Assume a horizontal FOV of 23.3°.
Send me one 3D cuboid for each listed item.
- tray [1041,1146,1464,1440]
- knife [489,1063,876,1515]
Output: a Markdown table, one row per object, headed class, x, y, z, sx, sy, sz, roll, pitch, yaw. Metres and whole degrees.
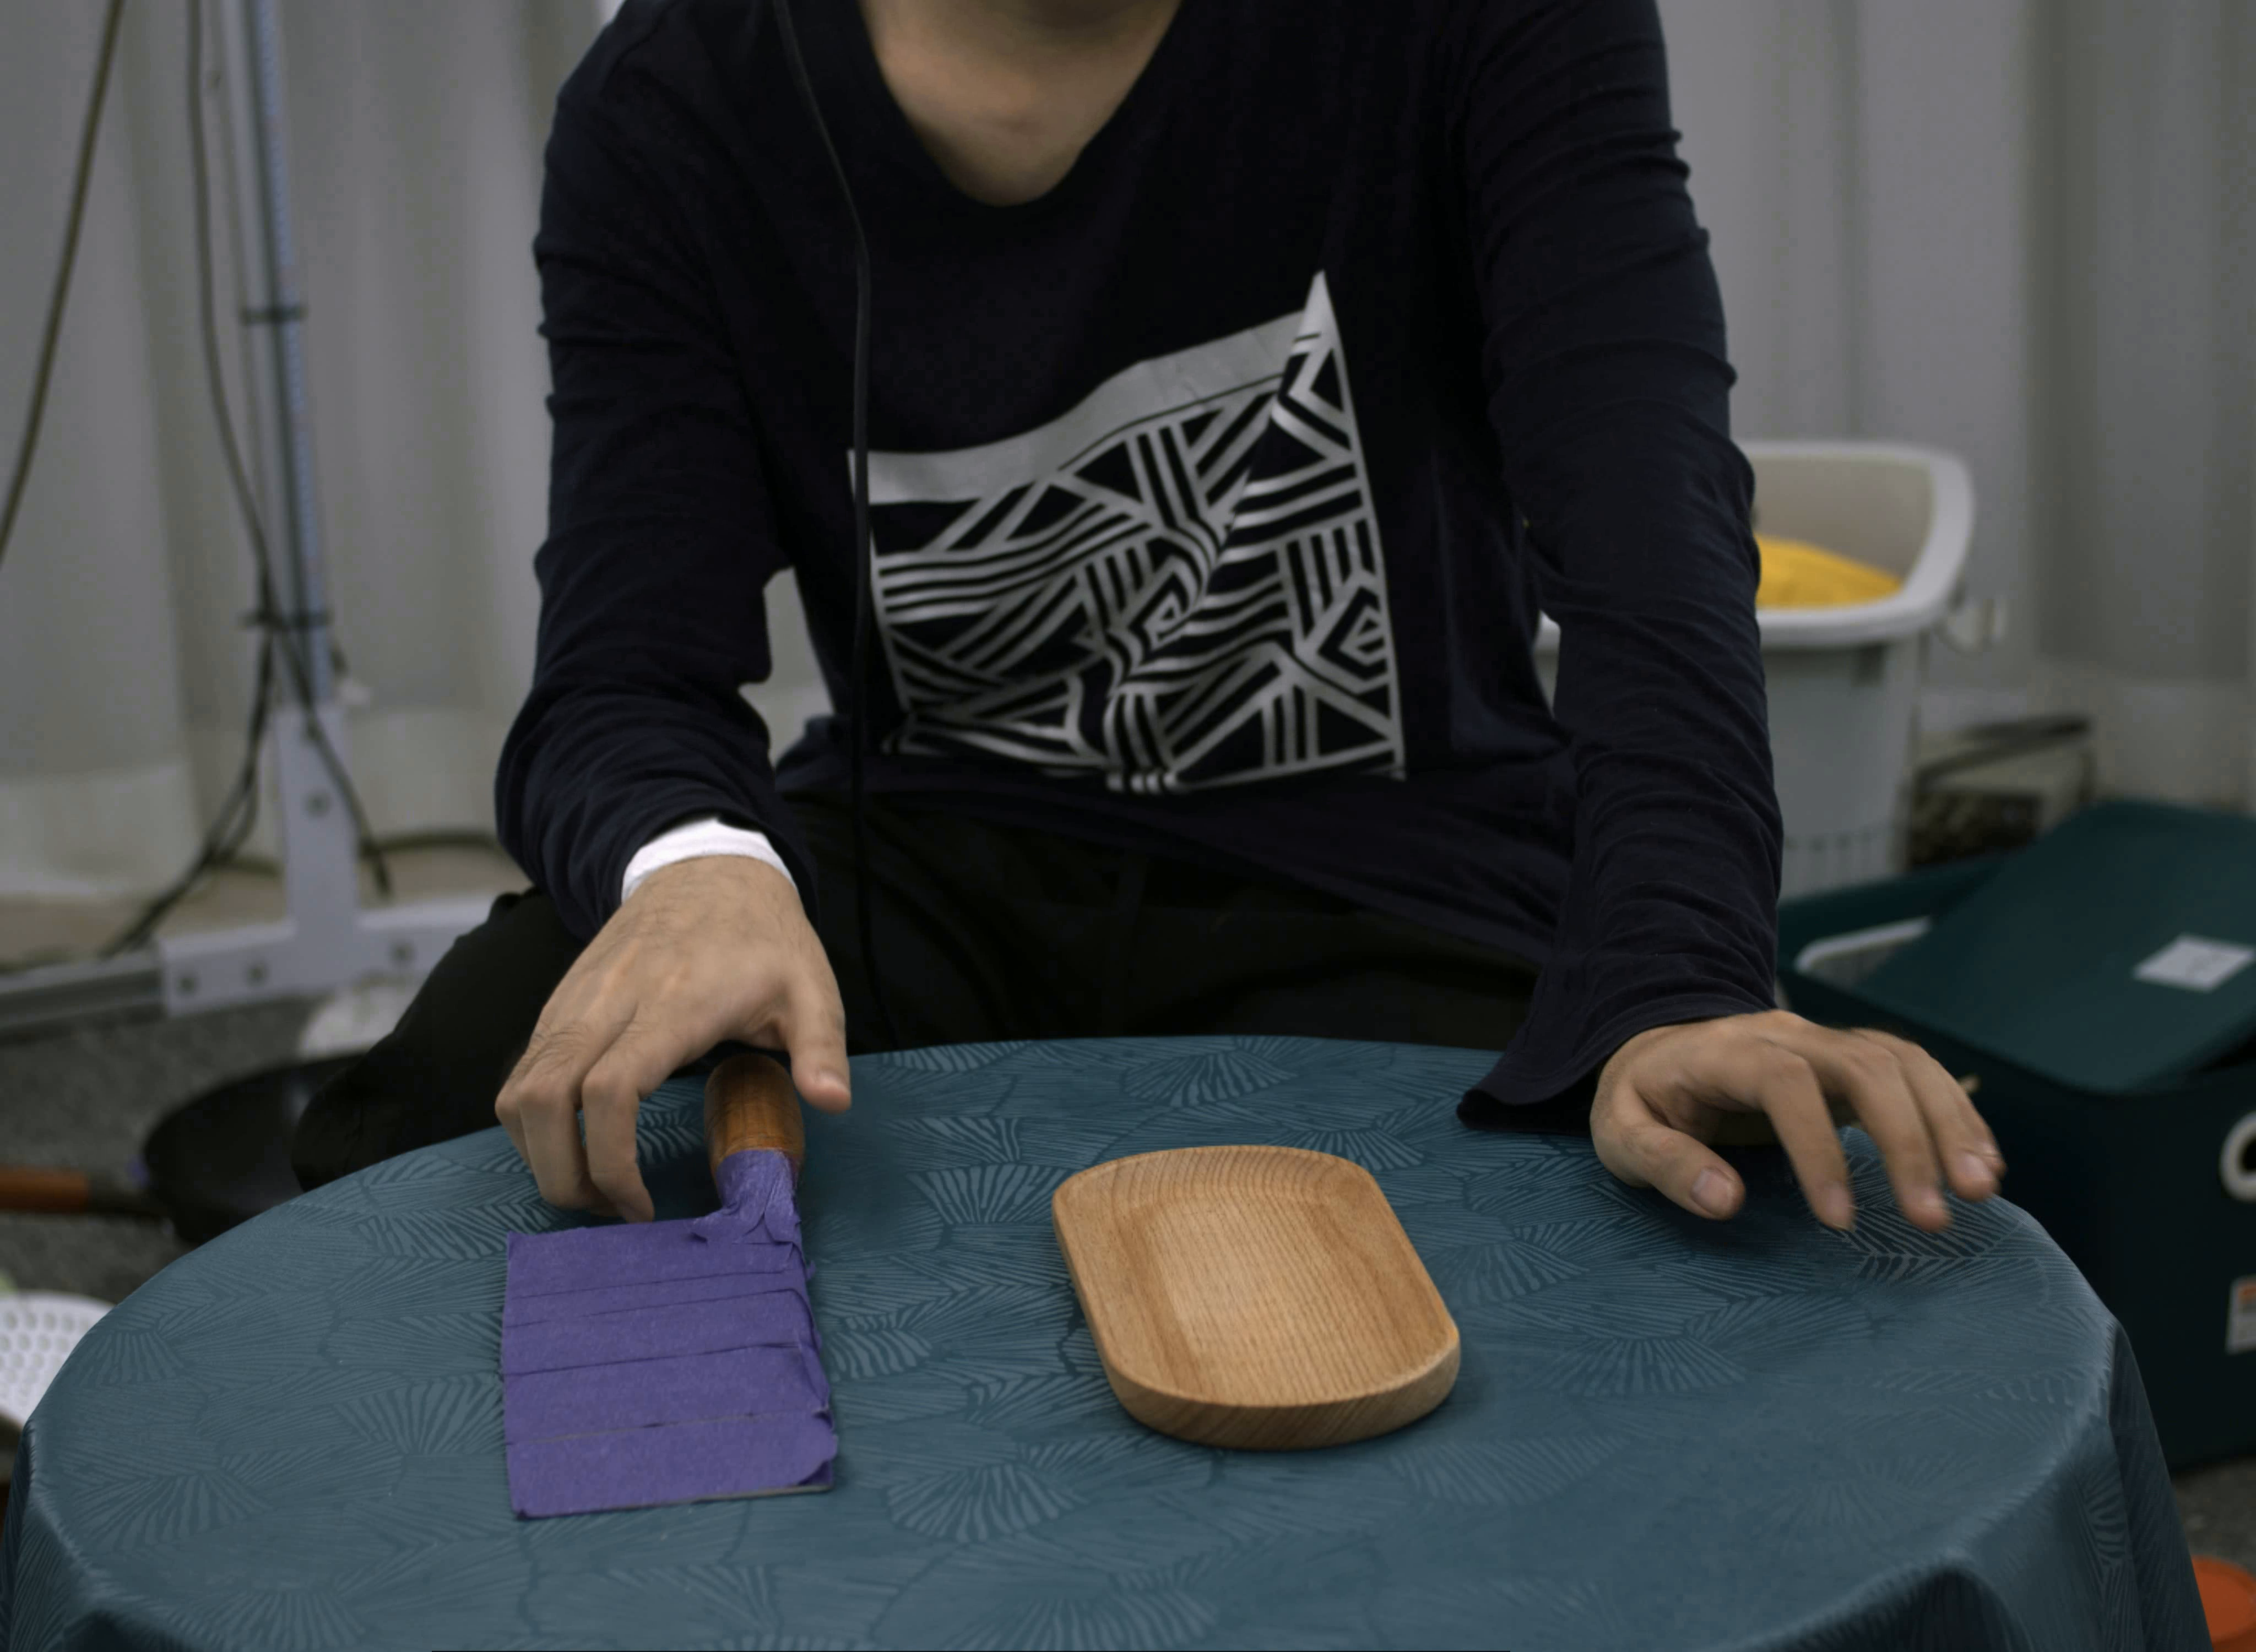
| class | x | y | z | sx | sy | sz | roll | pitch | yaw |
| --- | --- | --- | --- | --- | --- | --- | --- | --- | --- |
| tray | 0.034 | 0.135 | 1.604 | 0.101 | 0.020 | 0.233 | -4 | 13 | -8 |
| knife | -0.138 | 0.133 | 1.622 | 0.103 | 0.032 | 0.317 | -4 | 15 | -6 |
